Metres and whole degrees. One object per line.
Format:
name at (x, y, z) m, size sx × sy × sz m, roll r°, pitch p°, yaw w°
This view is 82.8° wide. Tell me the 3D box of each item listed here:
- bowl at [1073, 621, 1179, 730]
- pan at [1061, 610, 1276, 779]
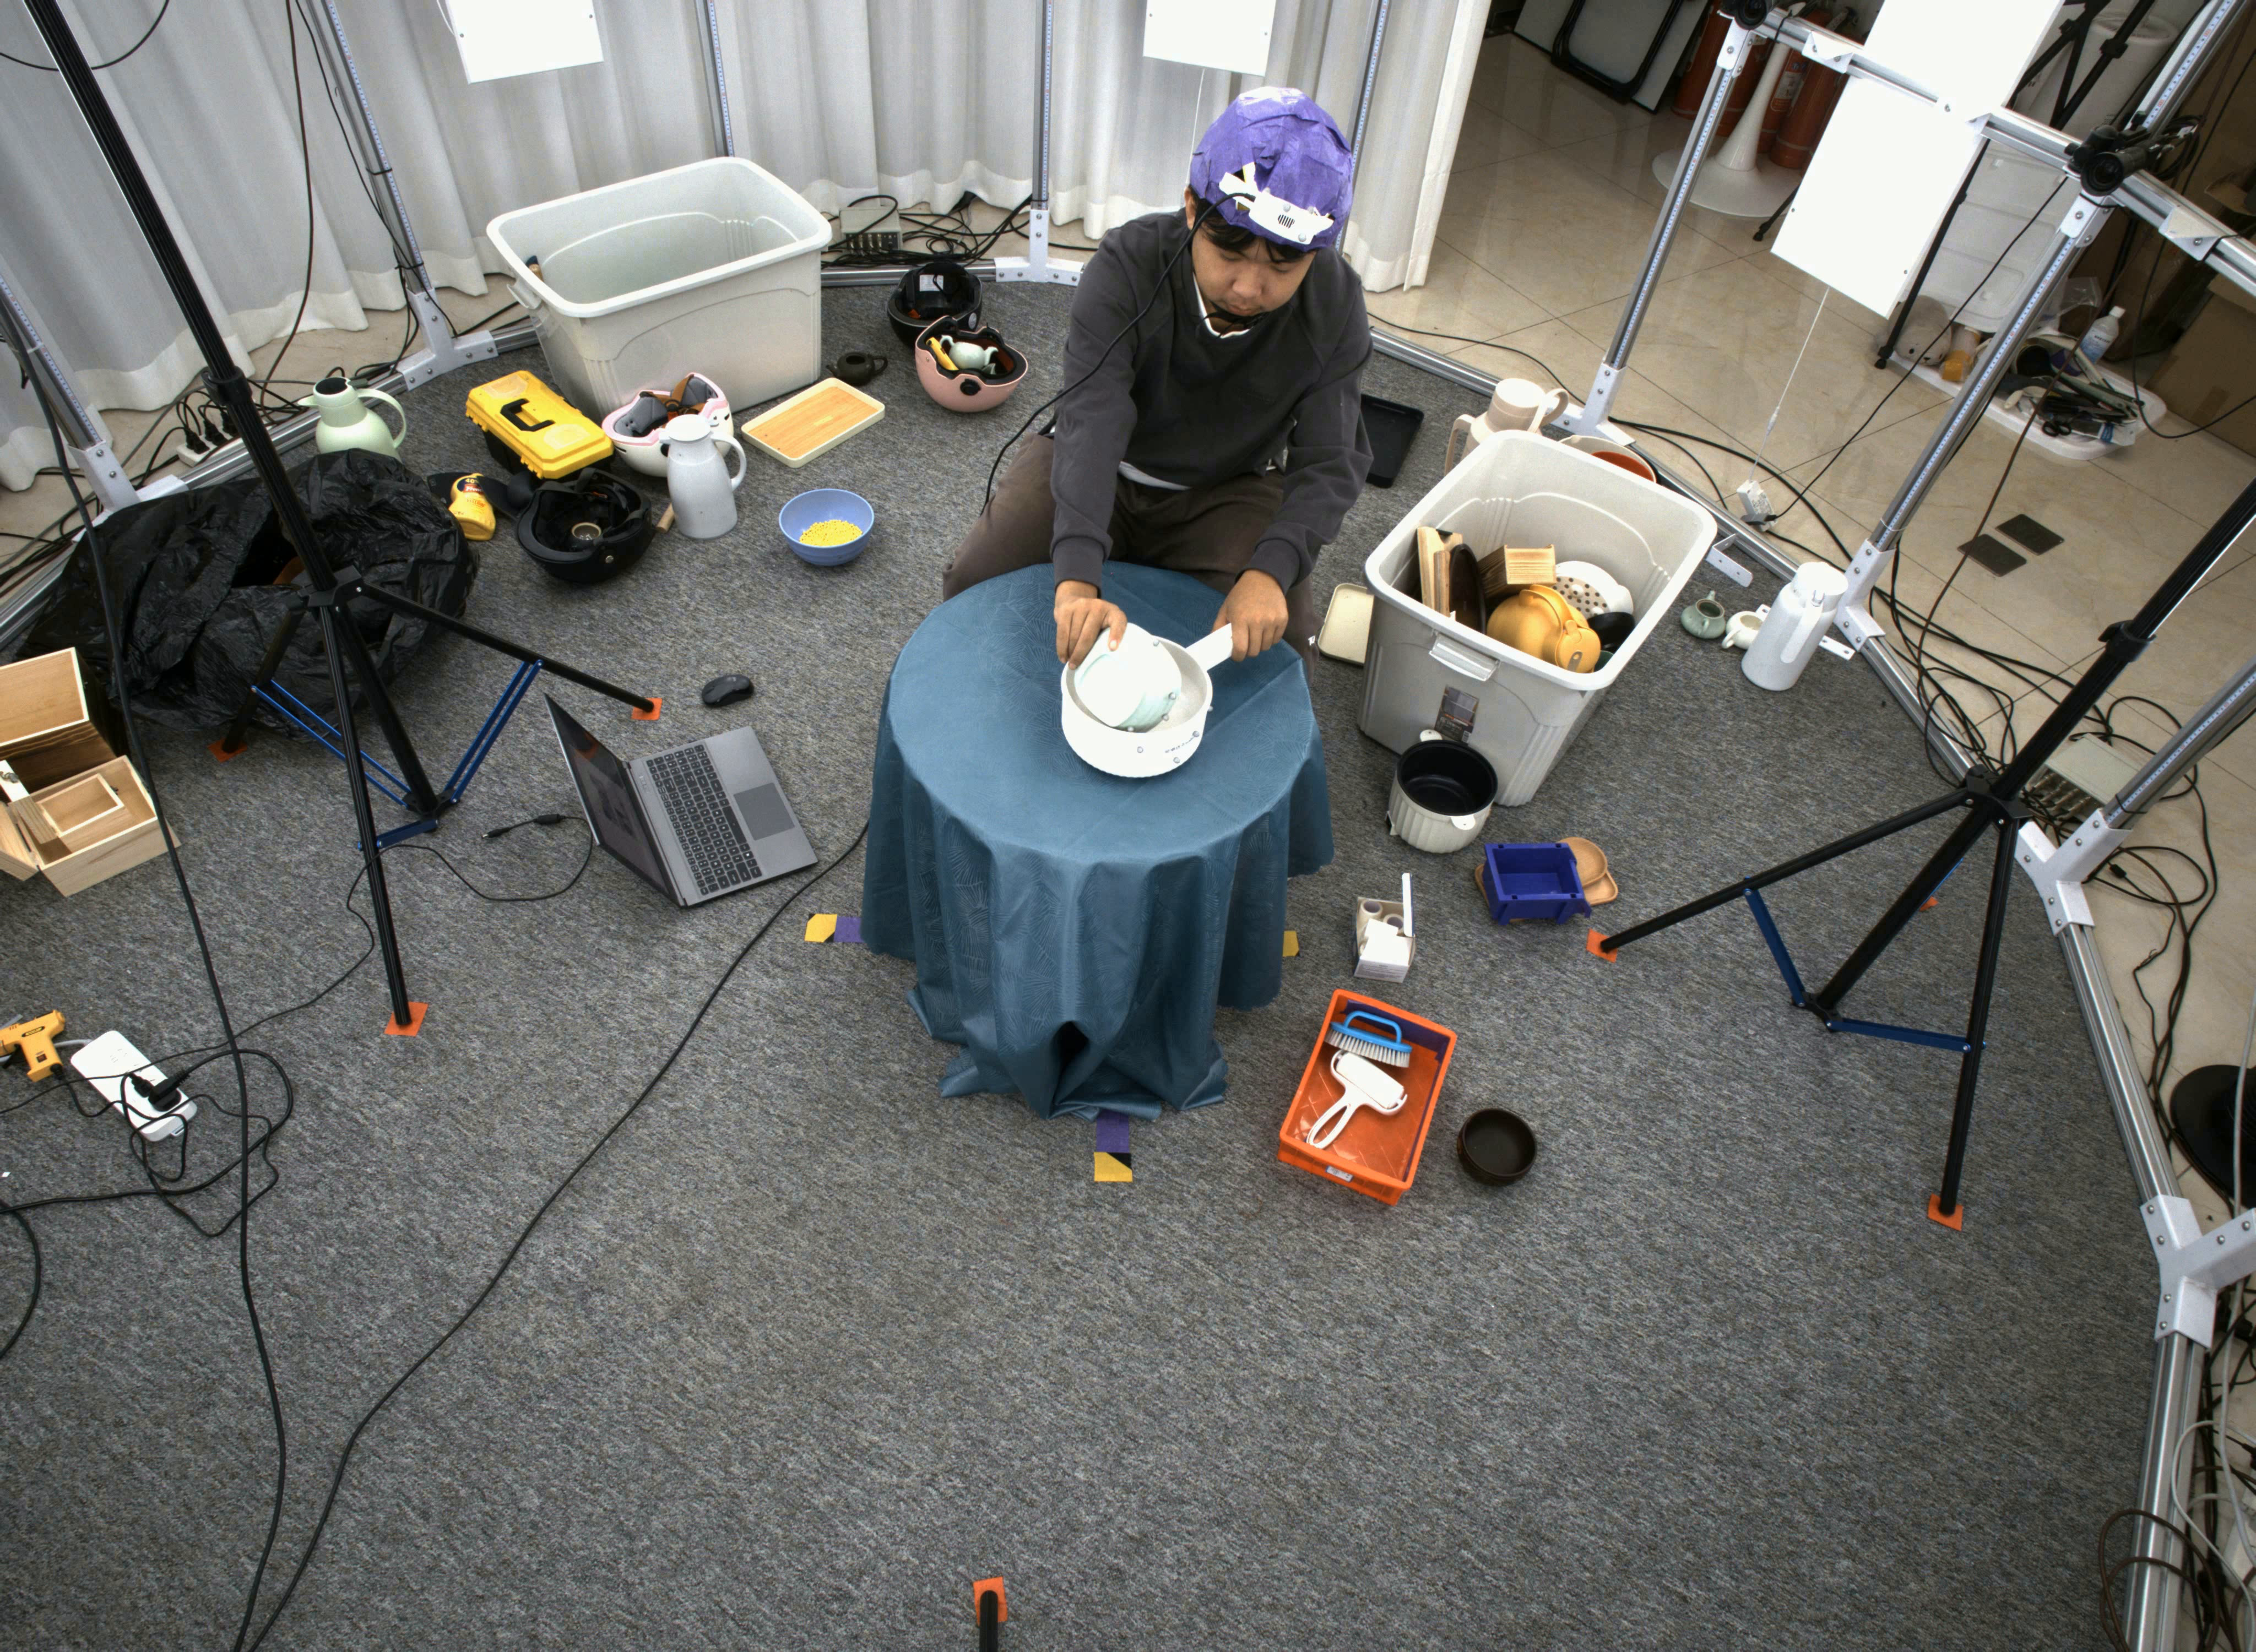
bowl at (-0.013, -0.184, 1.646) m, size 0.153 × 0.149 × 0.059 m, roll 28°, pitch 28°, yaw 19°
pan at (0.065, -0.190, 1.780) m, size 0.357 × 0.099 × 0.204 m, roll -32°, pitch 55°, yaw -30°
